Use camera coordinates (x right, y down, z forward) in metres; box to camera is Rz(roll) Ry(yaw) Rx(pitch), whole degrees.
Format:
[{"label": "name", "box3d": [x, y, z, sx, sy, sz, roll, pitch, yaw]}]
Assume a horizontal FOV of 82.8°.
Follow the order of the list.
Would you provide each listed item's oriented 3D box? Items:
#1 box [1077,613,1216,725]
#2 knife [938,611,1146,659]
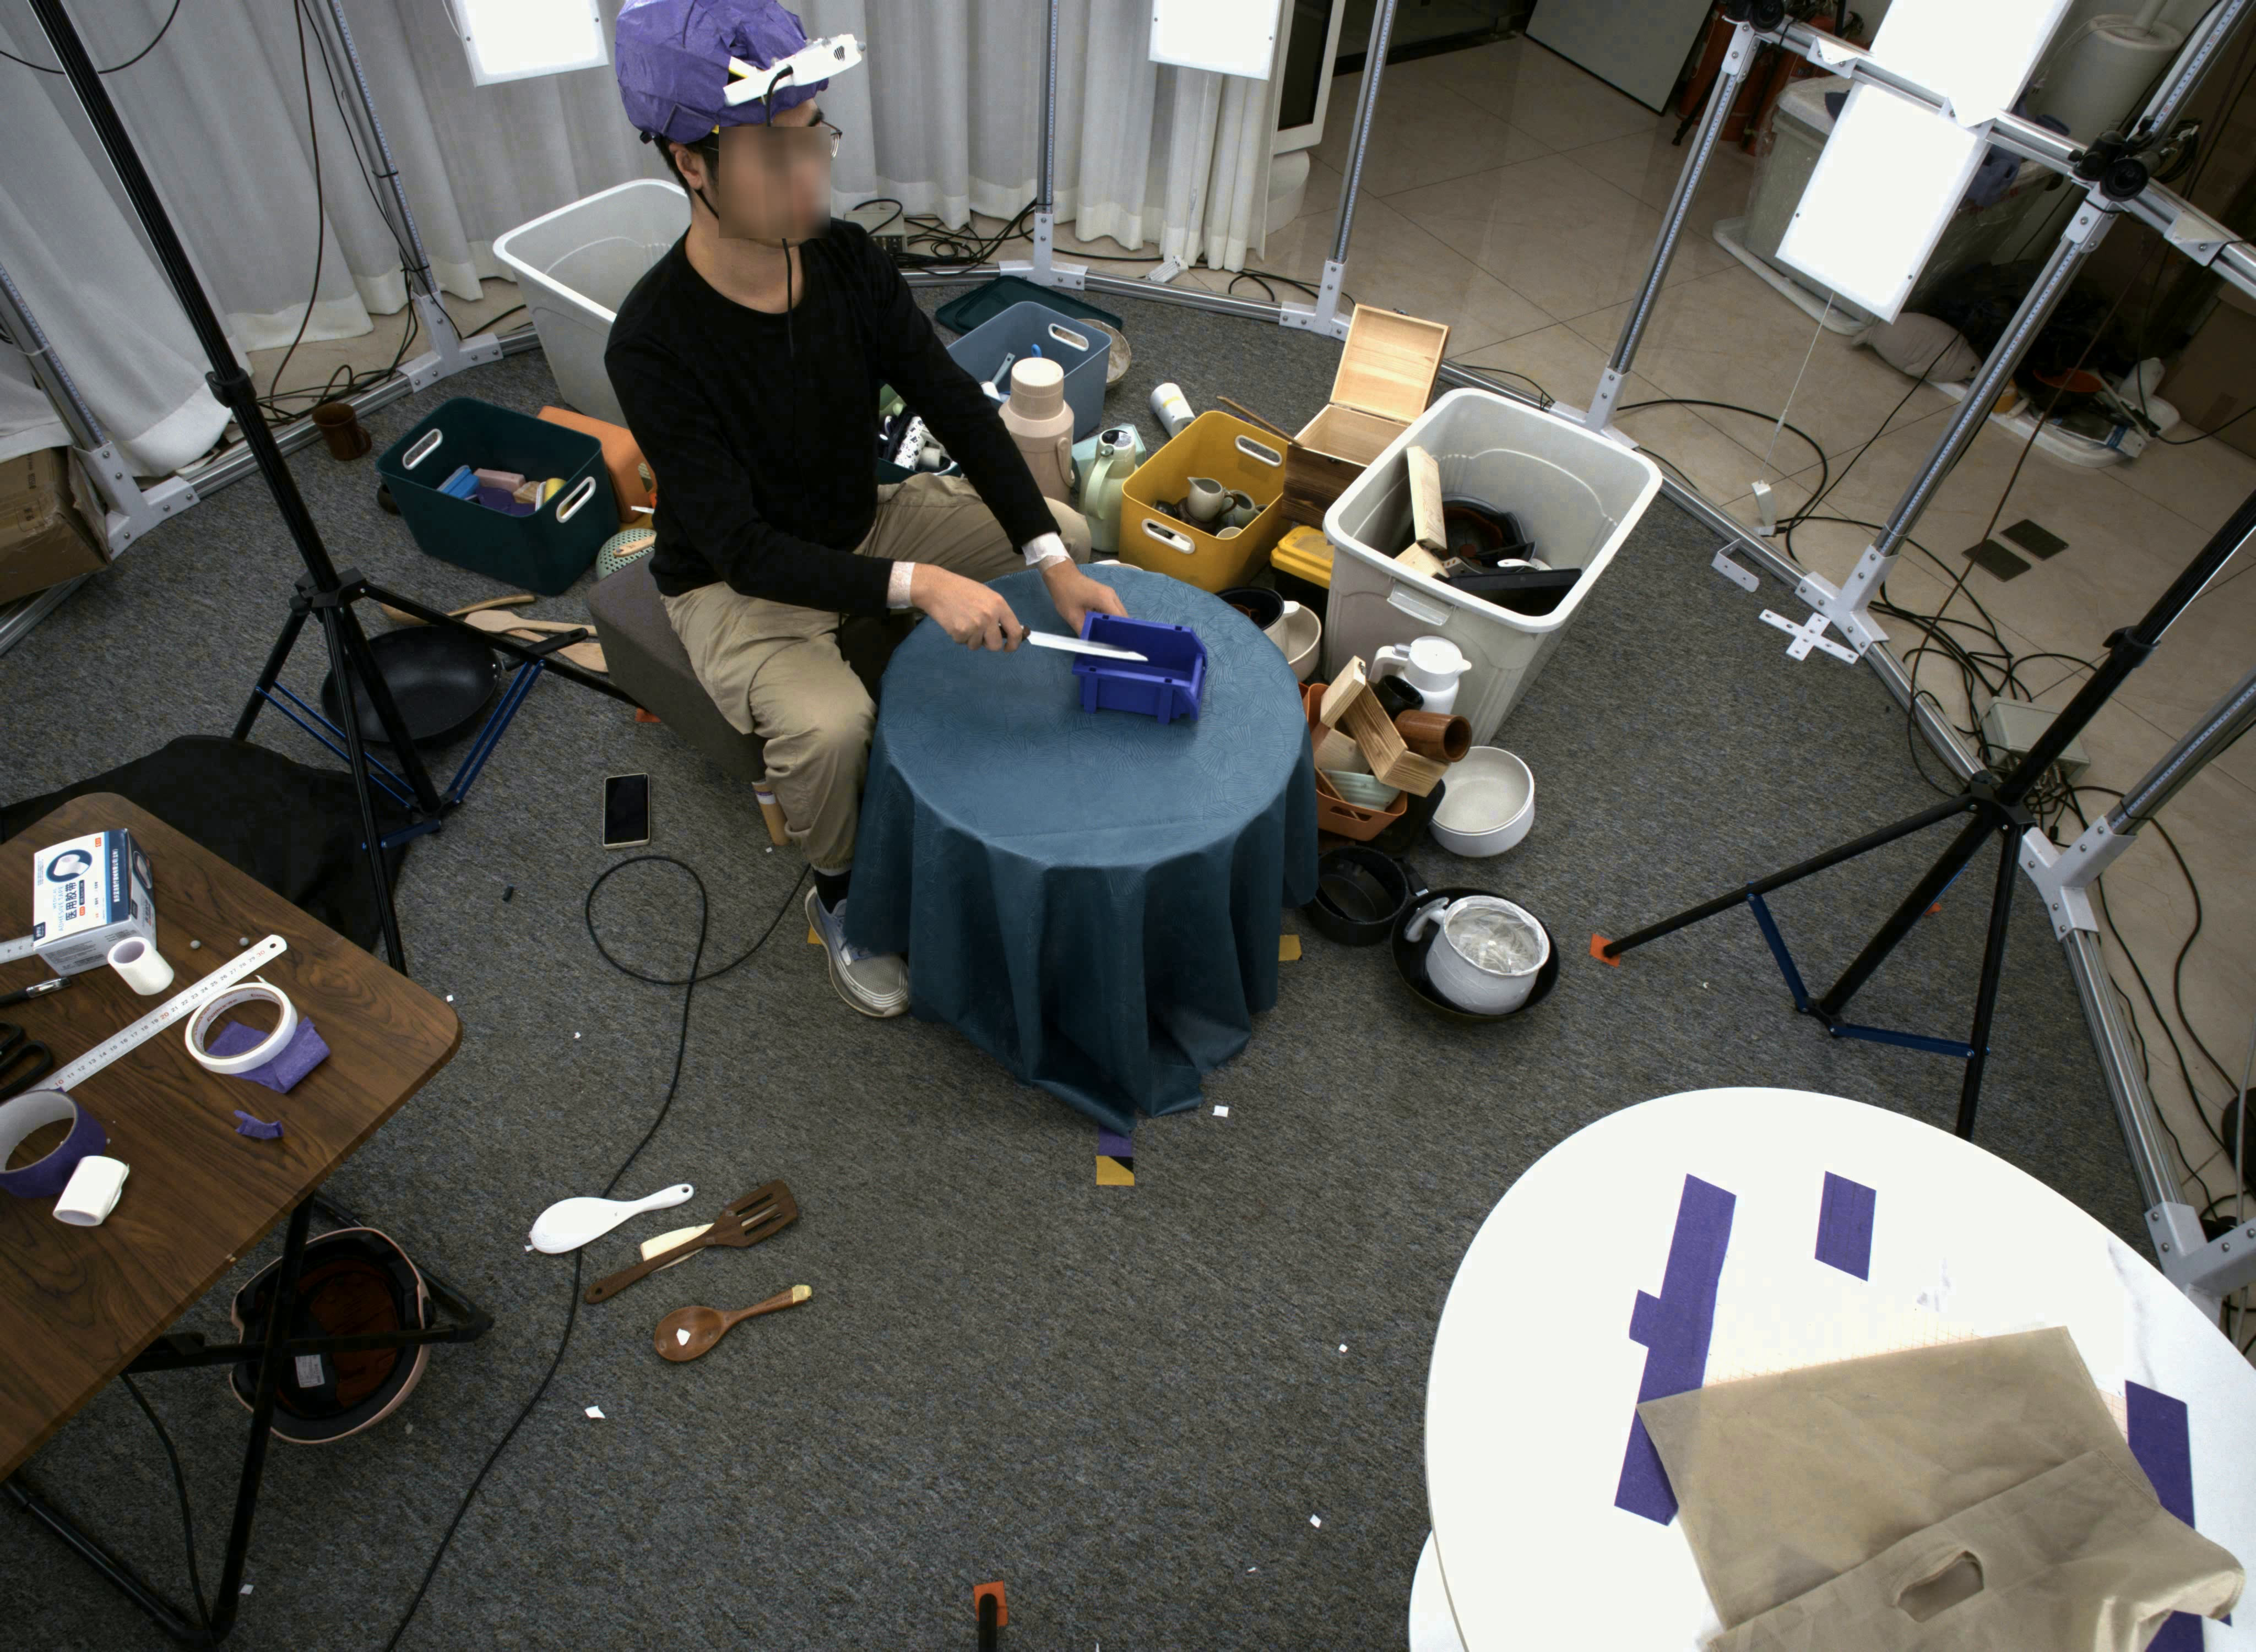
[{"label": "box", "box3d": [0.029, -0.221, 1.810, 0.179, 0.080, 0.127, 9, 49, 7]}, {"label": "knife", "box3d": [-0.114, -0.256, 1.743, 0.288, 0.019, 0.051, 9, 30, -13]}]
